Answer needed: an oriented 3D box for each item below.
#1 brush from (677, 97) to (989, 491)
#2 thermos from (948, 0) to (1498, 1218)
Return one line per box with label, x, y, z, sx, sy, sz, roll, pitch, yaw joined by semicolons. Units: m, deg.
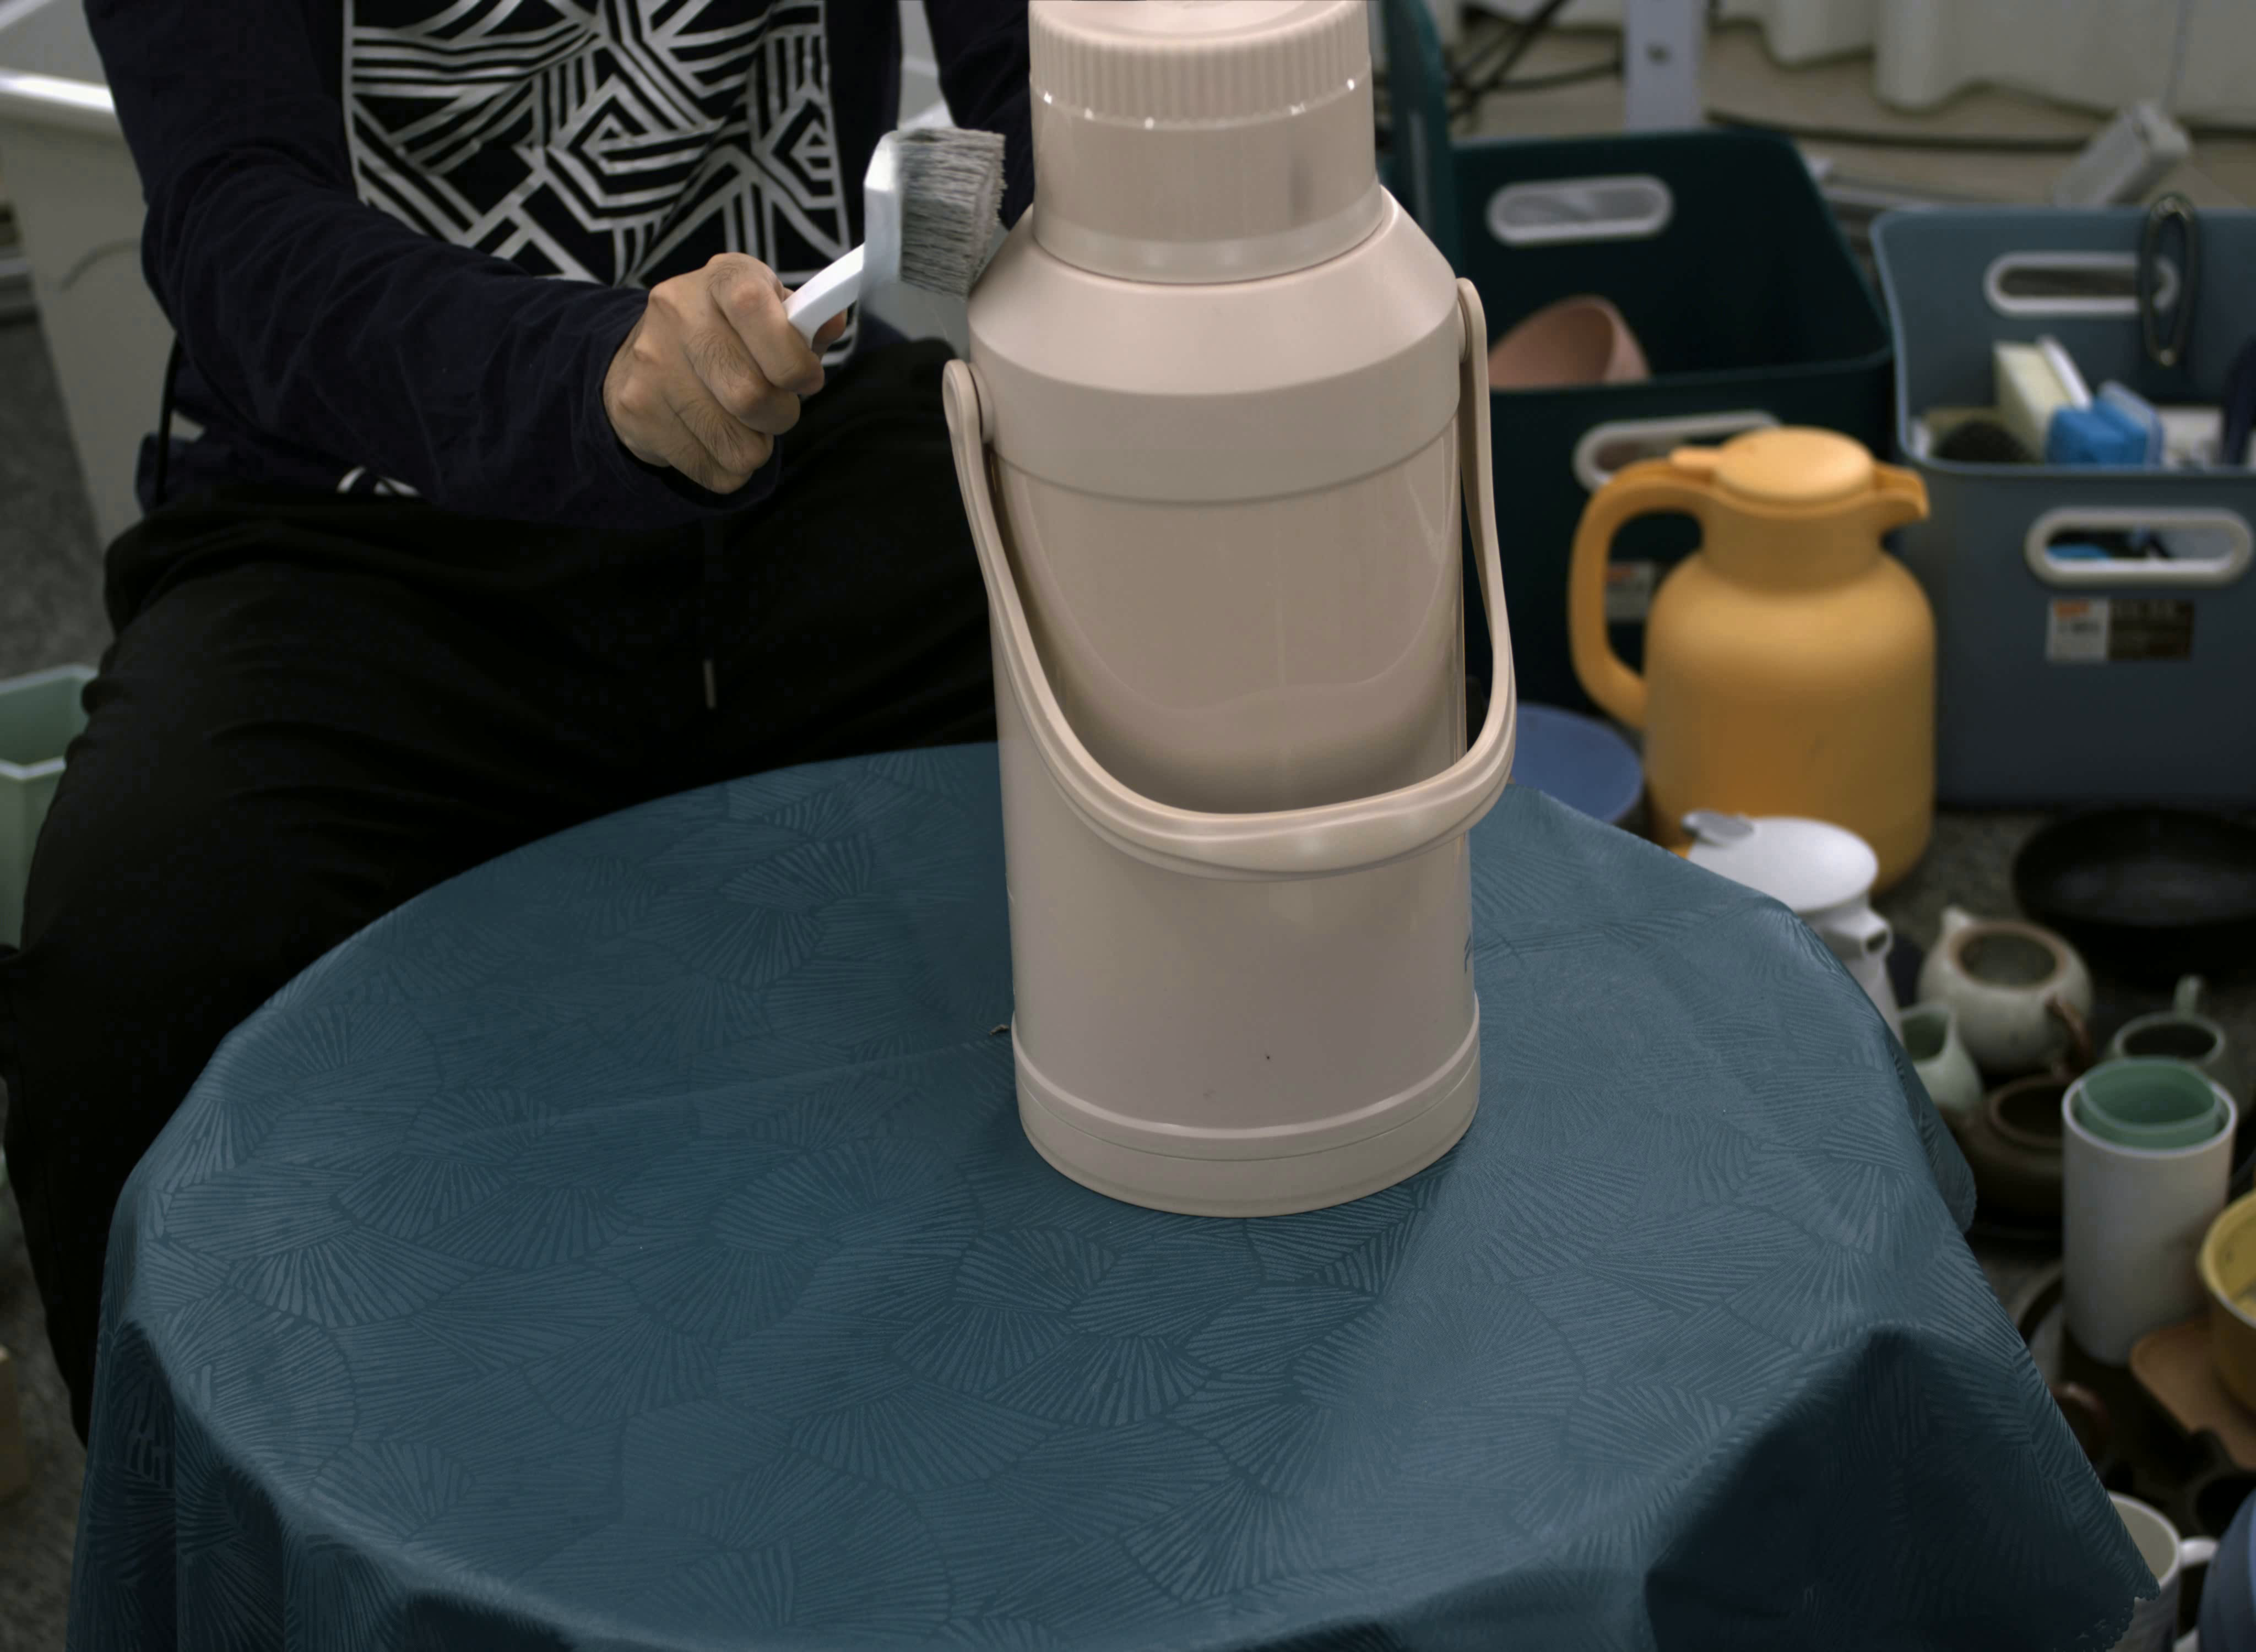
brush;-0.093;-0.164;1.843;0.050;0.239;0.035;20;60;-12
thermos;0.031;-0.089;1.839;0.175;0.402;0.209;-12;27;-14
